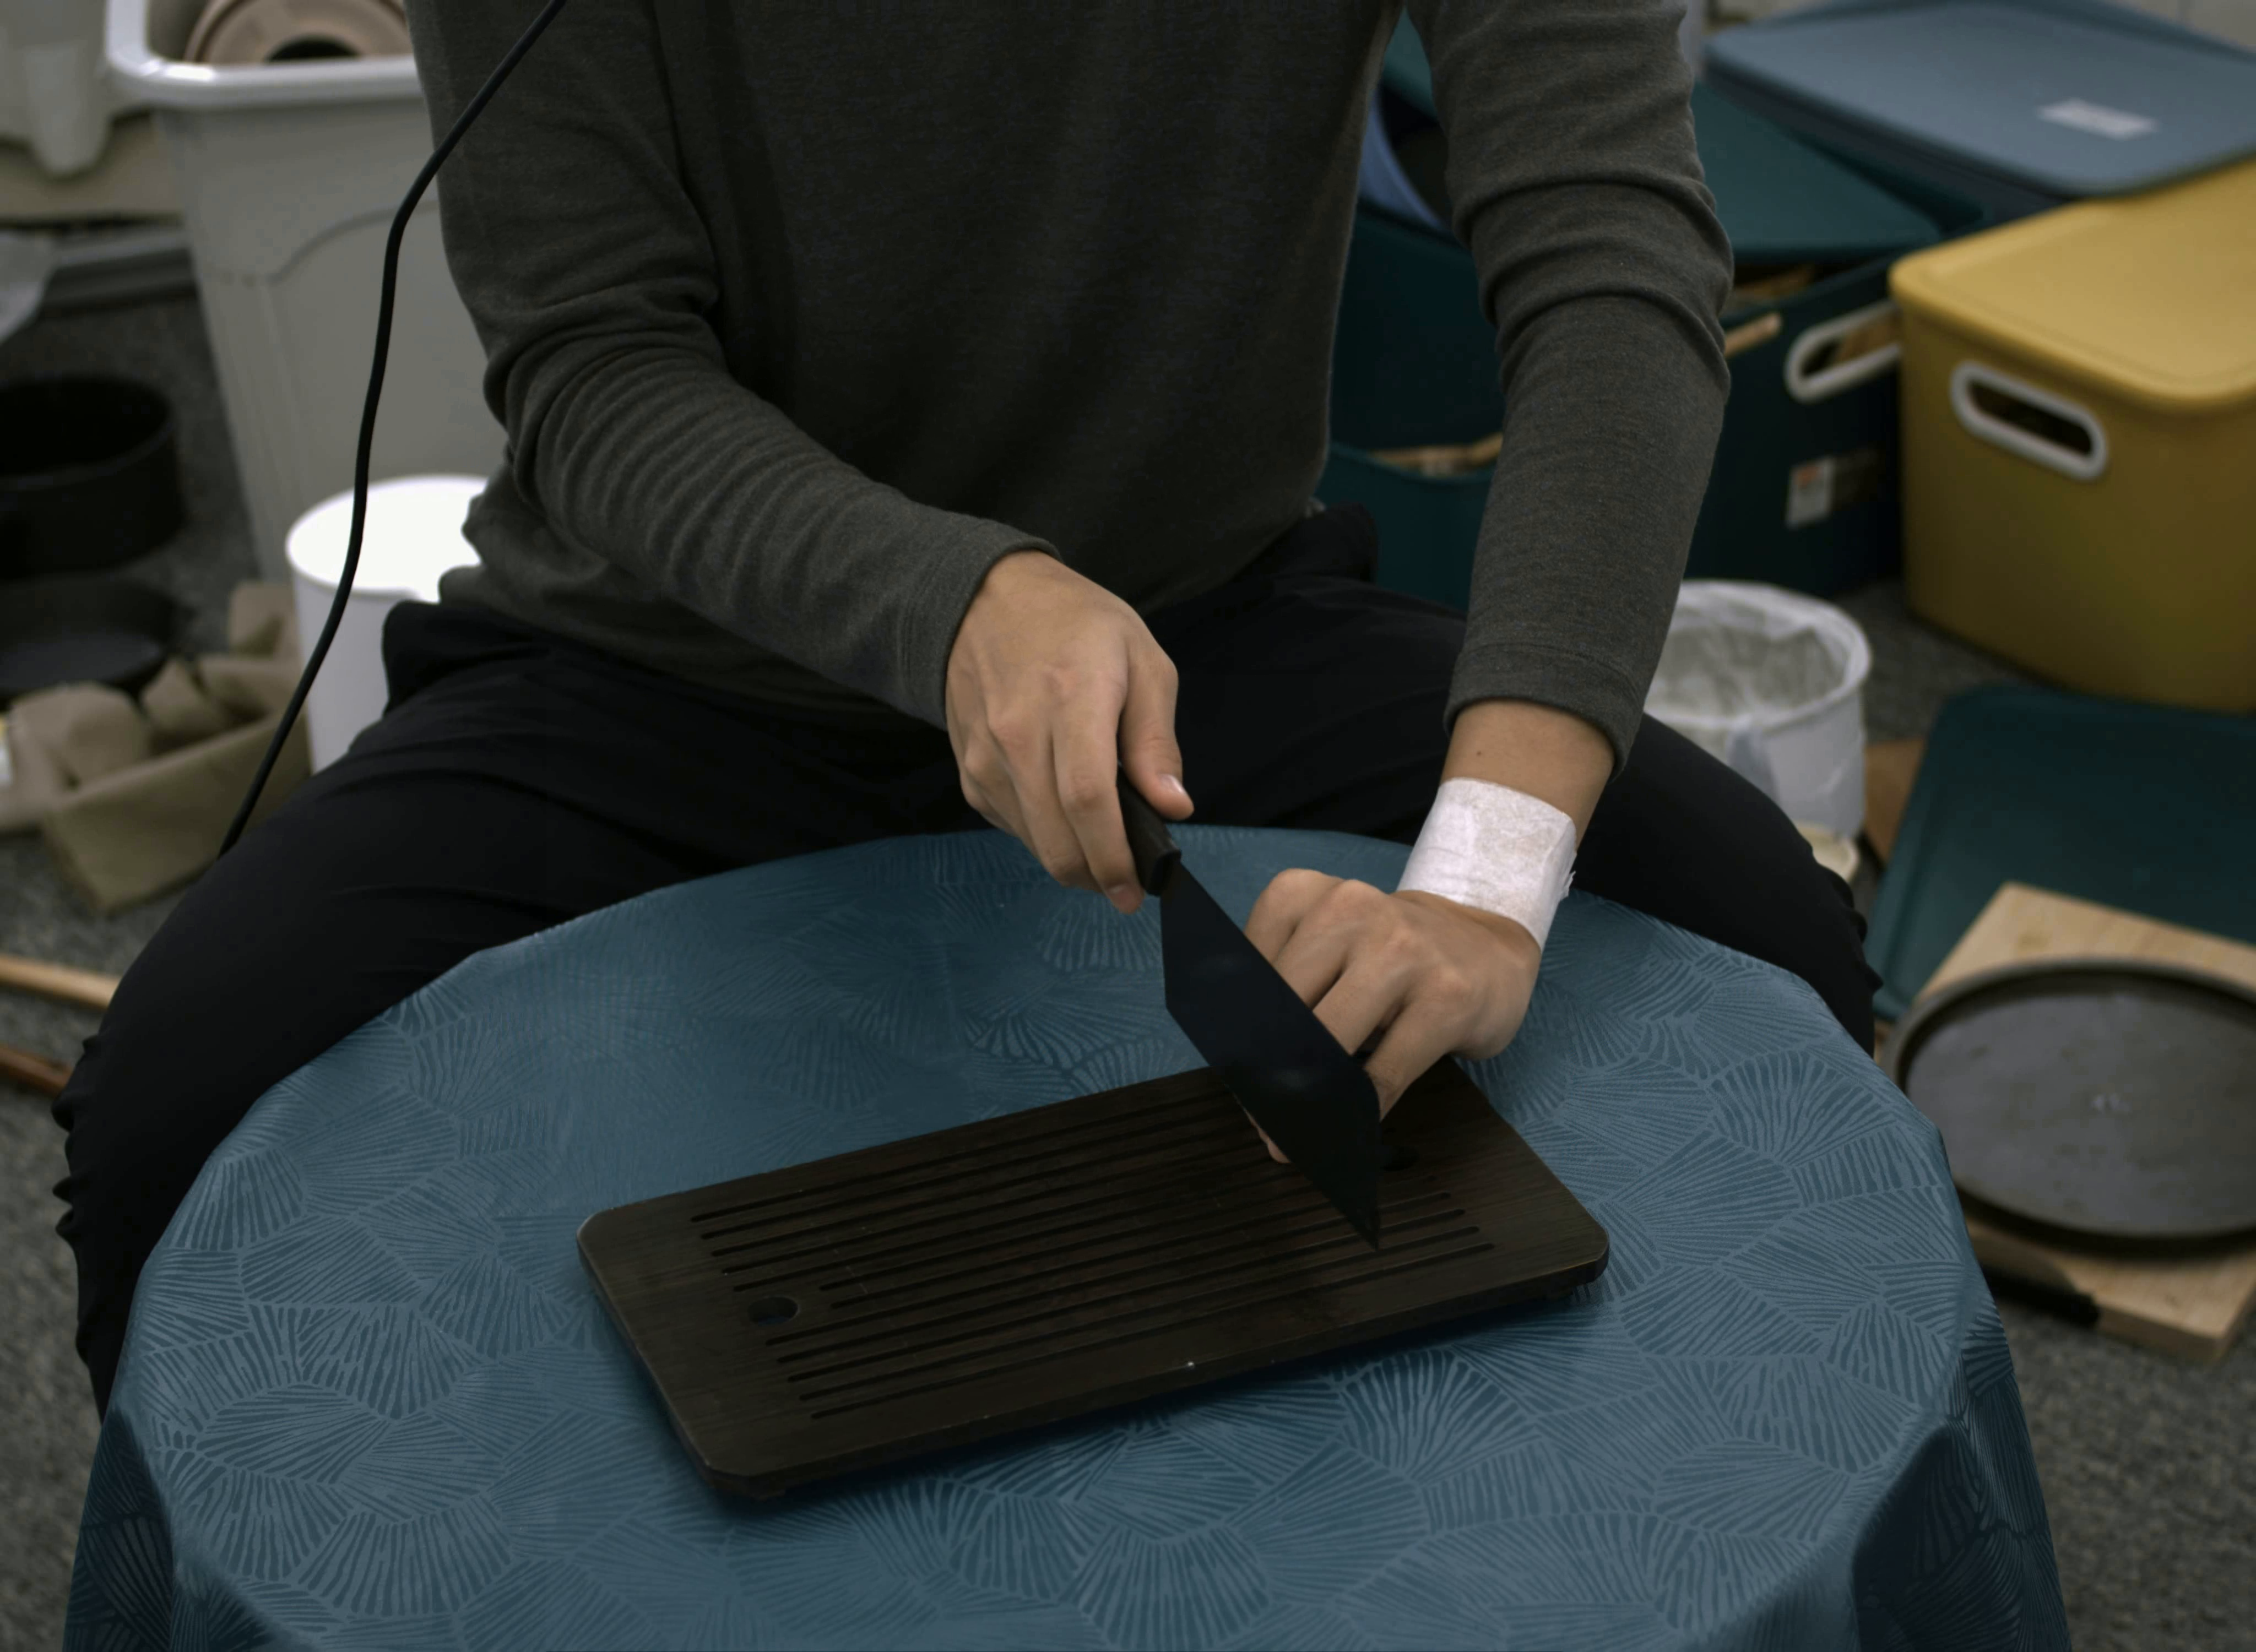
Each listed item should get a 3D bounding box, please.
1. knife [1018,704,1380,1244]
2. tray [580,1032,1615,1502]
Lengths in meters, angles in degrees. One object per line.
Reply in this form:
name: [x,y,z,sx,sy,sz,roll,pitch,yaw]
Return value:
knife: [0.023,0.040,1.854,0.021,0.080,0.305,-9,32,-19]
tray: [-0.011,0.140,1.807,0.306,0.018,0.171,-12,28,-18]
